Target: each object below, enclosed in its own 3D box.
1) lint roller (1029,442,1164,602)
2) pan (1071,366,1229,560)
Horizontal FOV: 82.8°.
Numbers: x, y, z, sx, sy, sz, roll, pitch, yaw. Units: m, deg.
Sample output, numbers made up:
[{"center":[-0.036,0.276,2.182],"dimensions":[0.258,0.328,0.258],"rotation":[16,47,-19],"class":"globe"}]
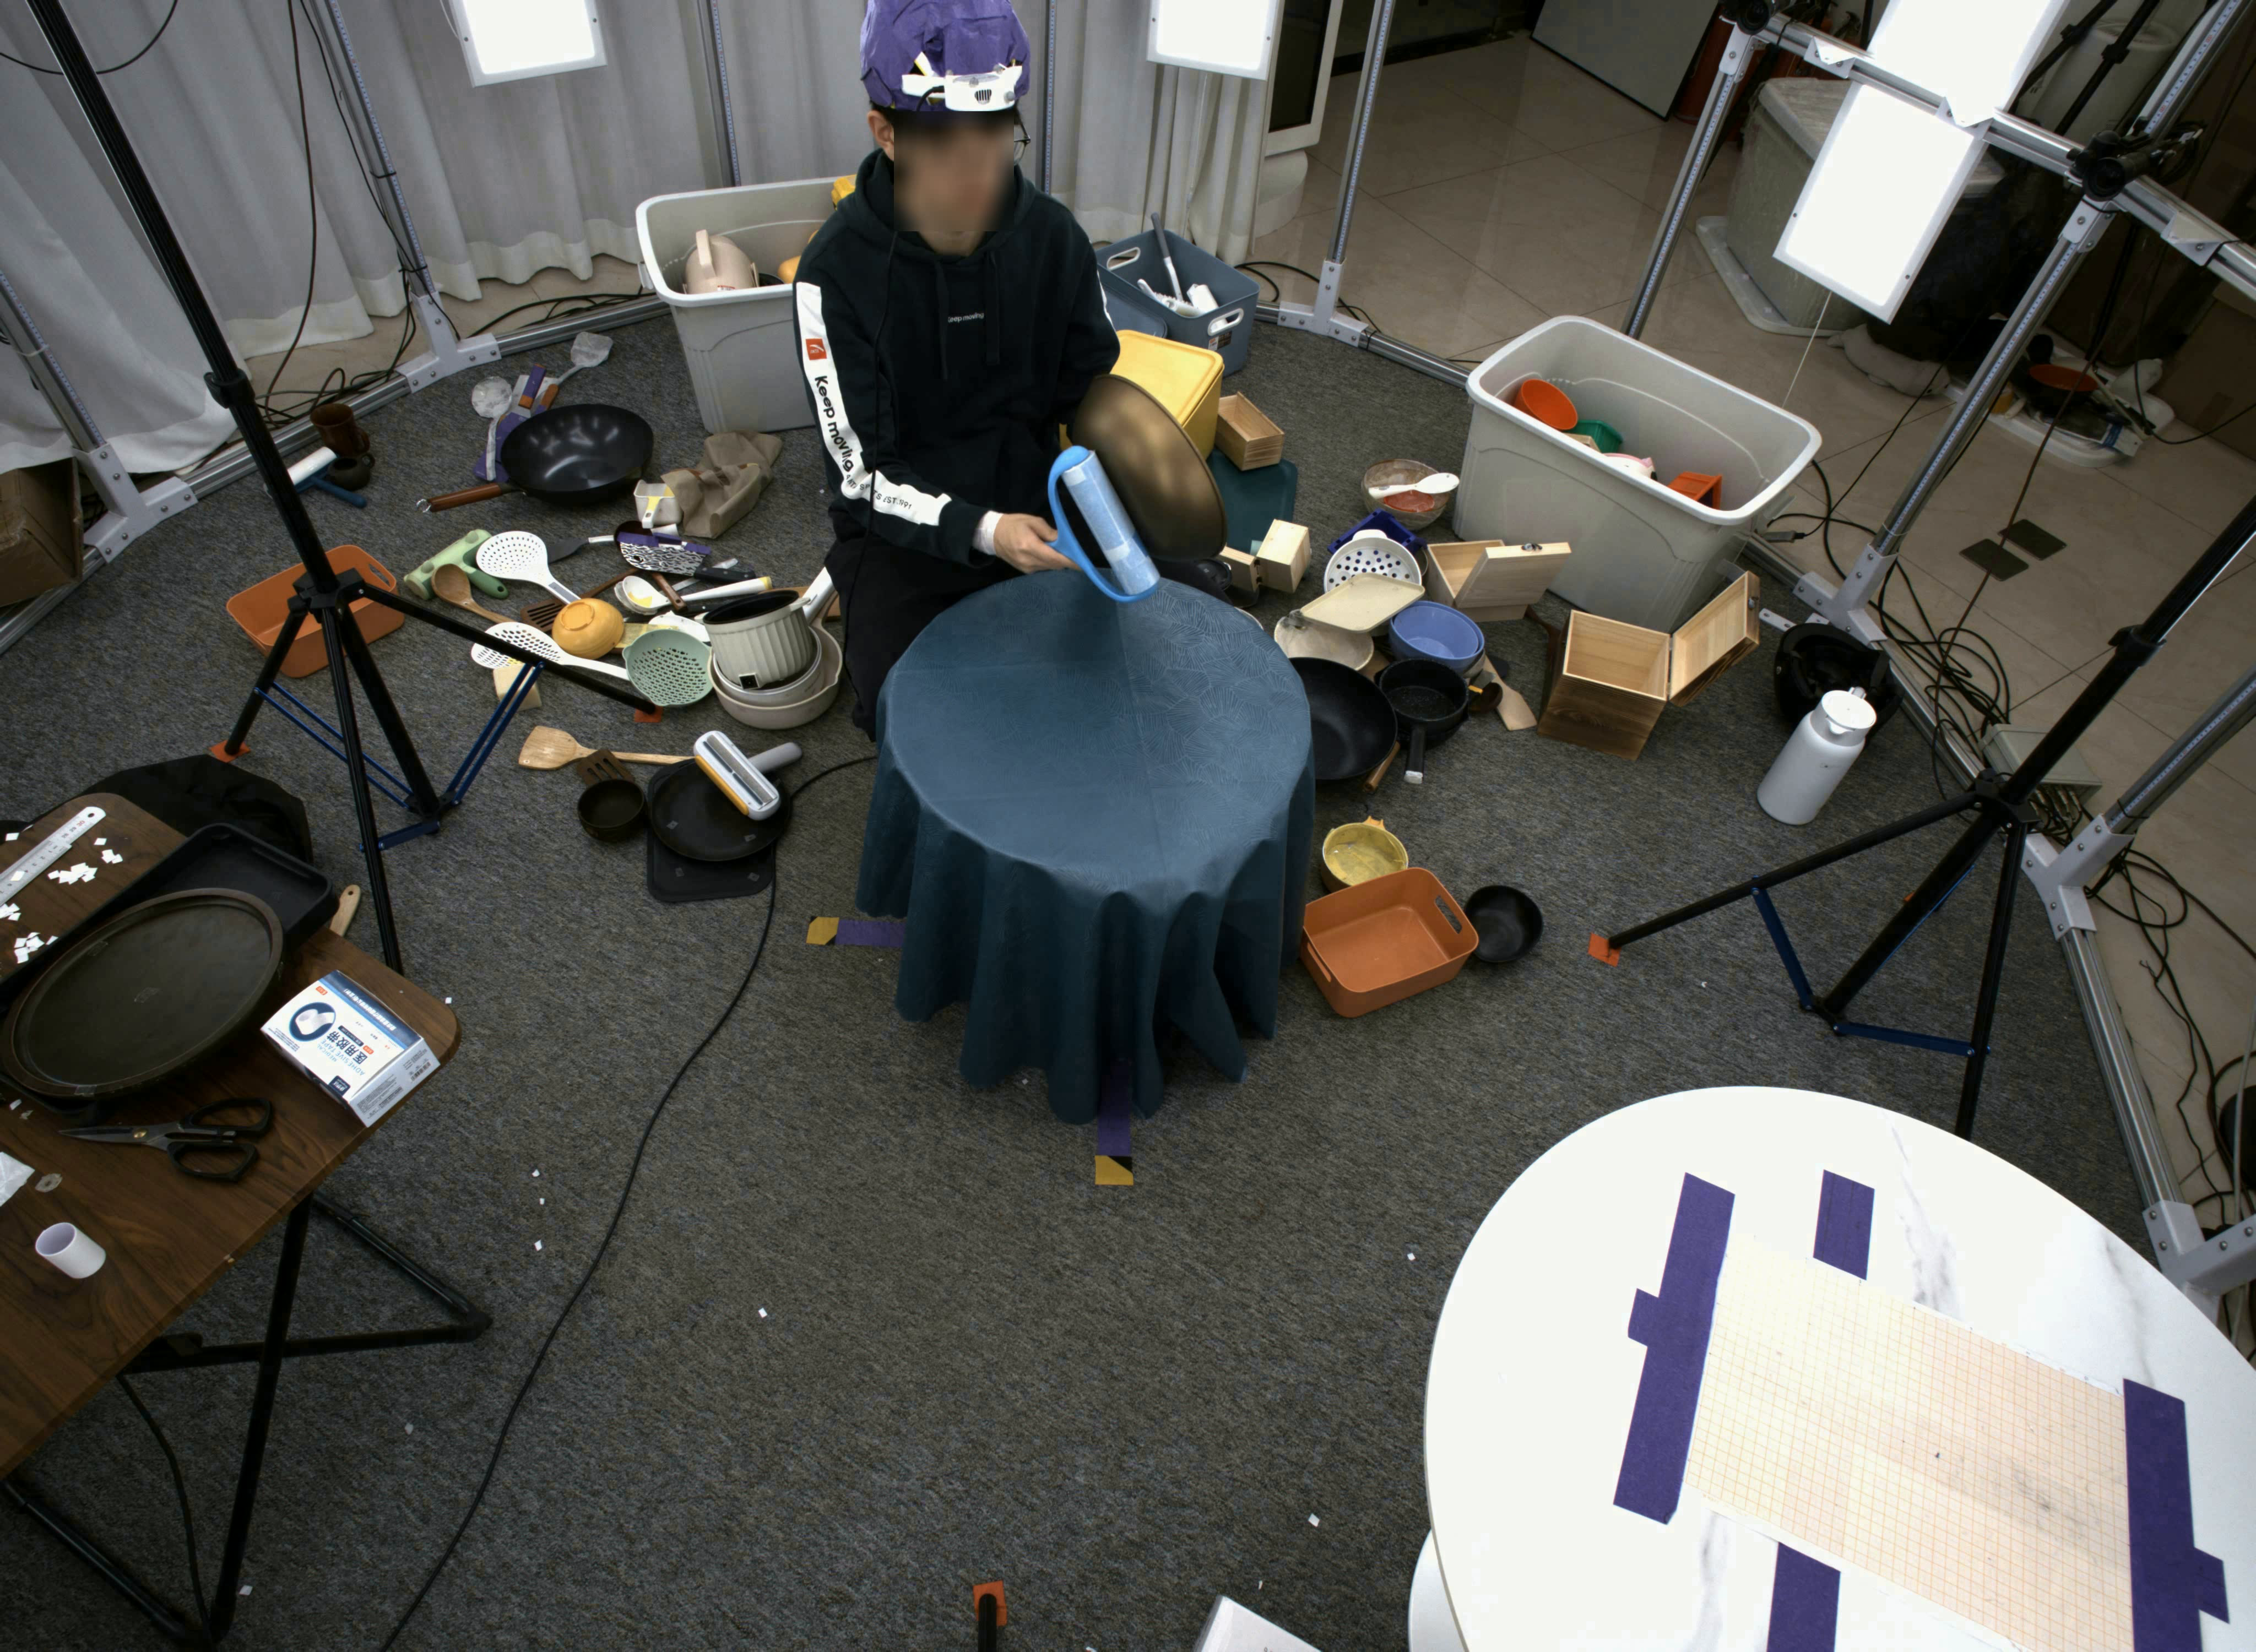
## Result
[{"center":[-0.069,-0.387,1.730],"dimensions":[0.180,0.225,0.069],"rotation":[-16,32,35],"class":"lint roller"},{"center":[-0.016,-0.464,1.812],"dimensions":[0.087,0.464,0.286],"rotation":[-39,101,-14],"class":"pan"}]
